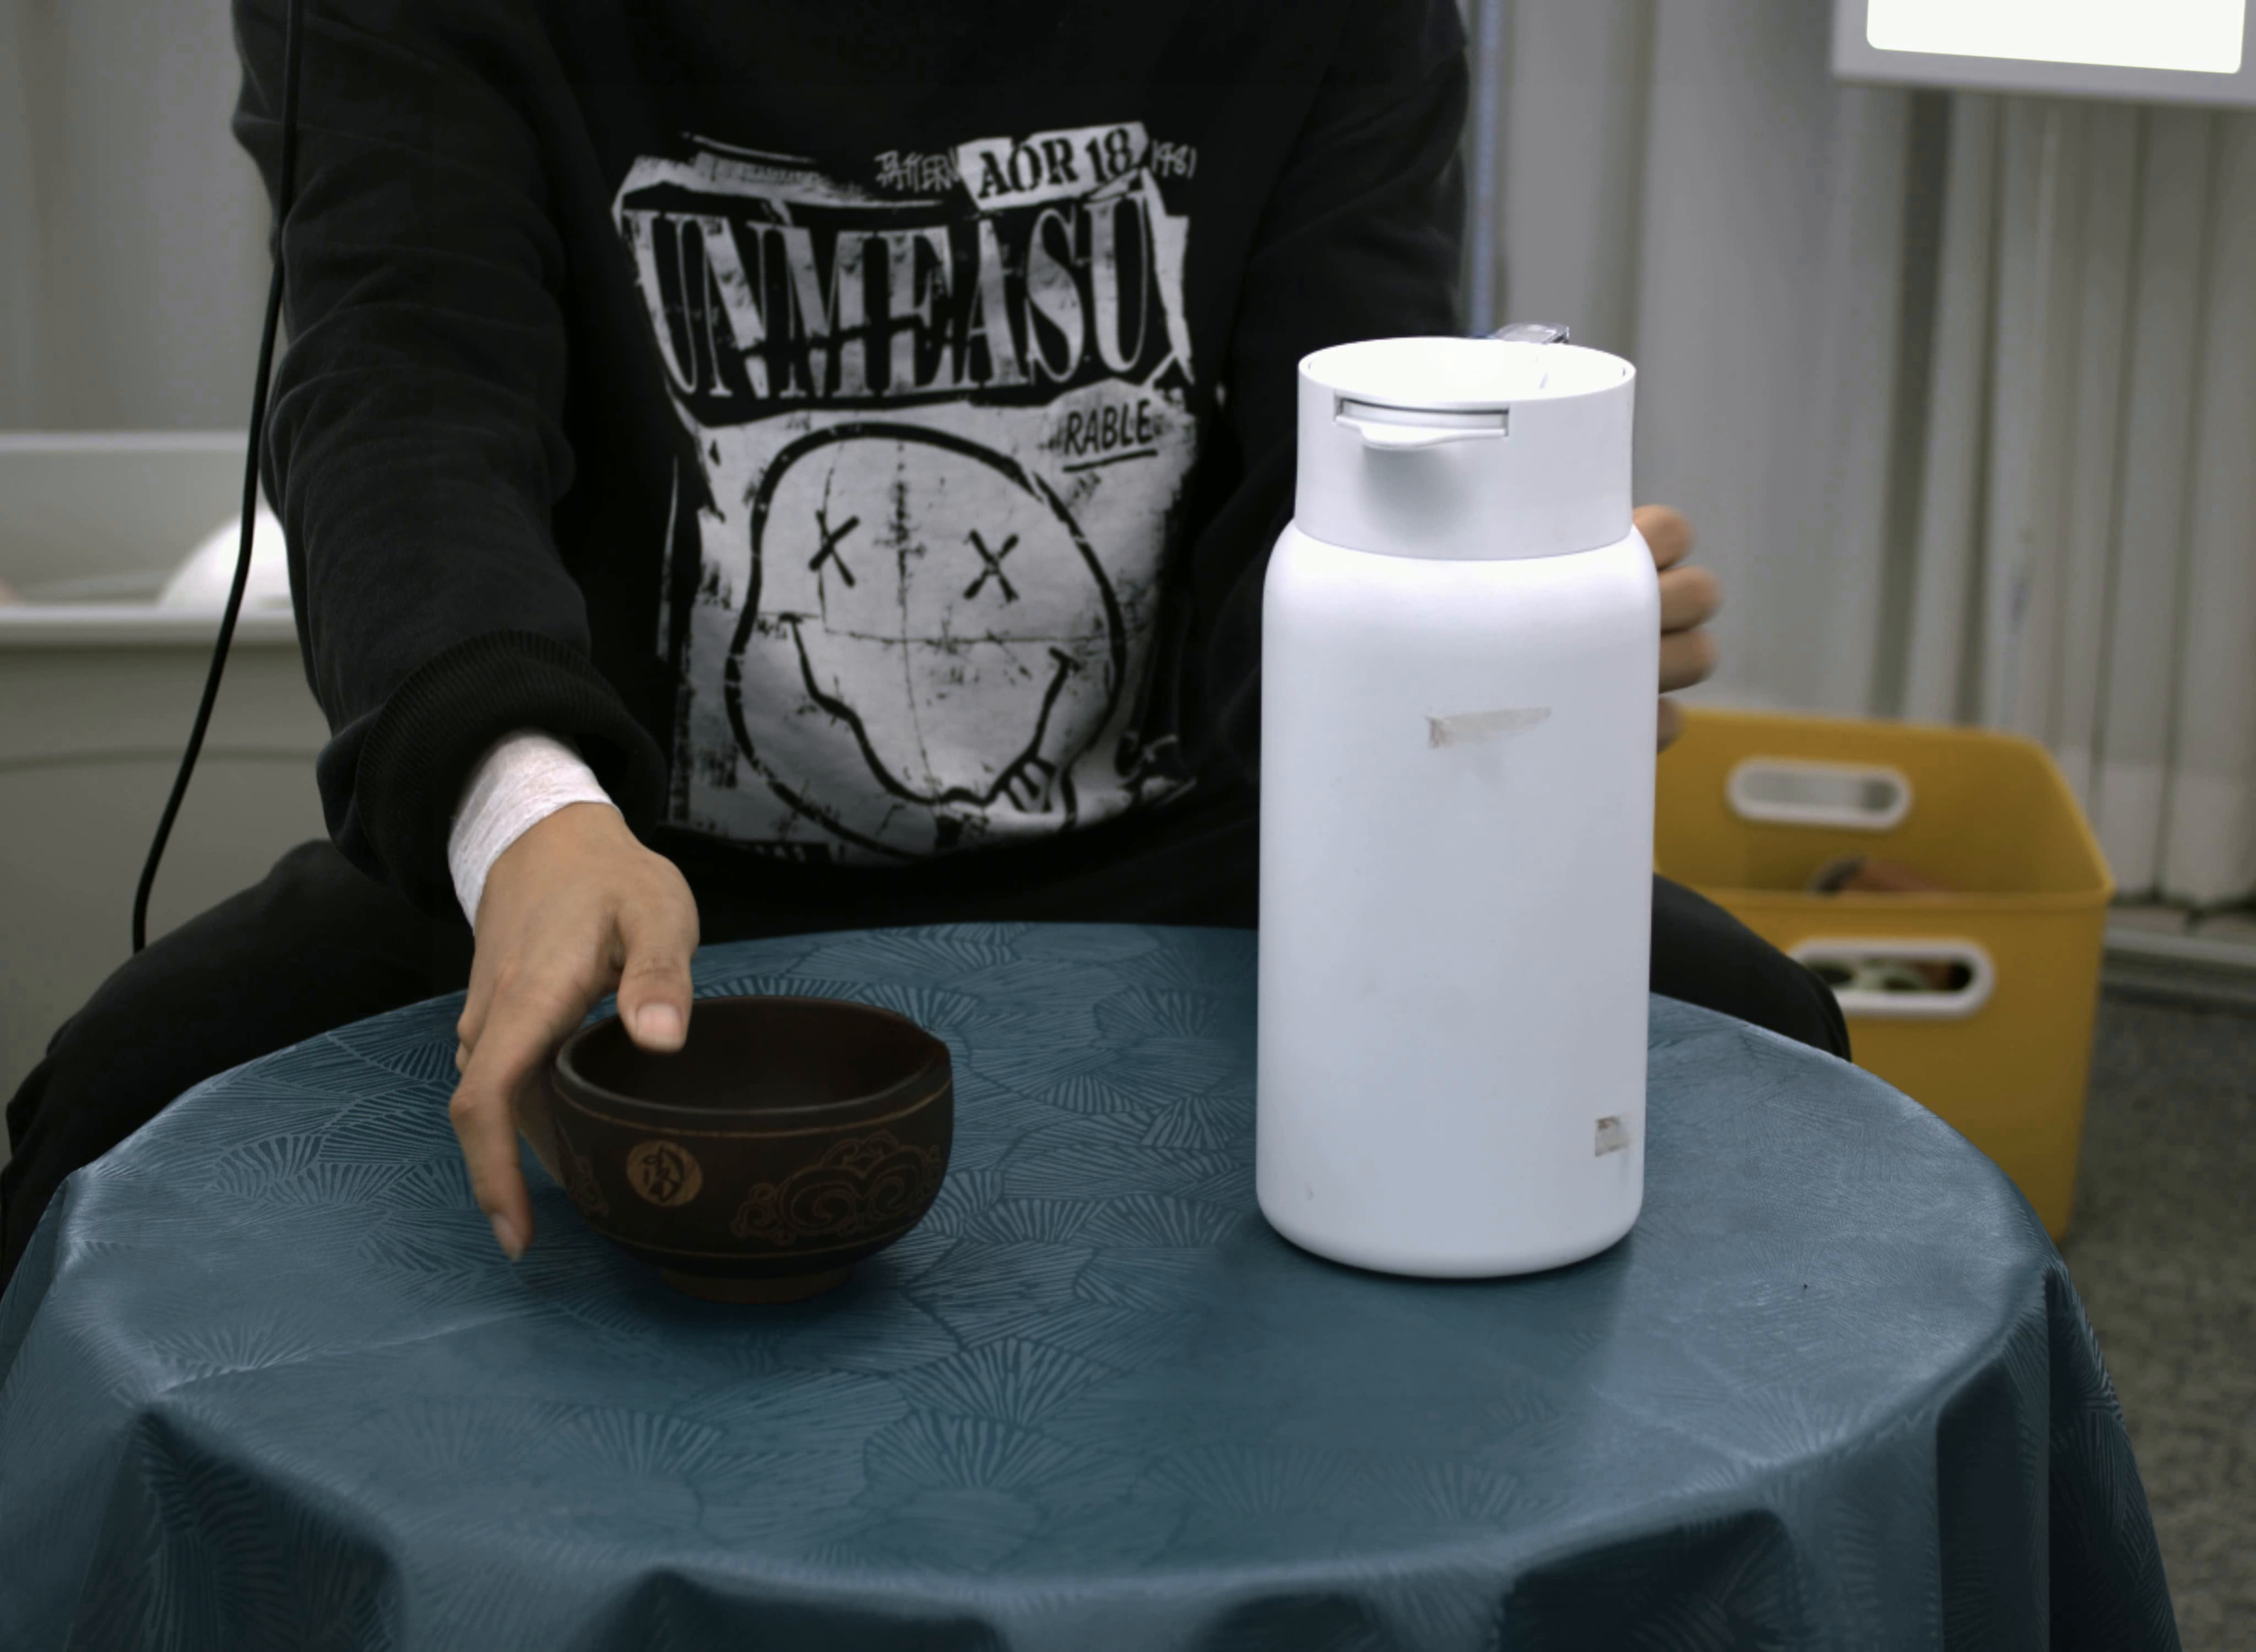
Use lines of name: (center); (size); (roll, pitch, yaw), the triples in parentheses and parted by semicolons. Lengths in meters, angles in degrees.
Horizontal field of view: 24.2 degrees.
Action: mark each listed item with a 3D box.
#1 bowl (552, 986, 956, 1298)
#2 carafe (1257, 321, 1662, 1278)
bowl: (-0.109, 0.096, 1.540); (0.117, 0.070, 0.117); (0, 15, 1)
carafe: (0.103, -0.012, 1.574); (0.122, 0.271, 0.173); (4, 17, 20)
